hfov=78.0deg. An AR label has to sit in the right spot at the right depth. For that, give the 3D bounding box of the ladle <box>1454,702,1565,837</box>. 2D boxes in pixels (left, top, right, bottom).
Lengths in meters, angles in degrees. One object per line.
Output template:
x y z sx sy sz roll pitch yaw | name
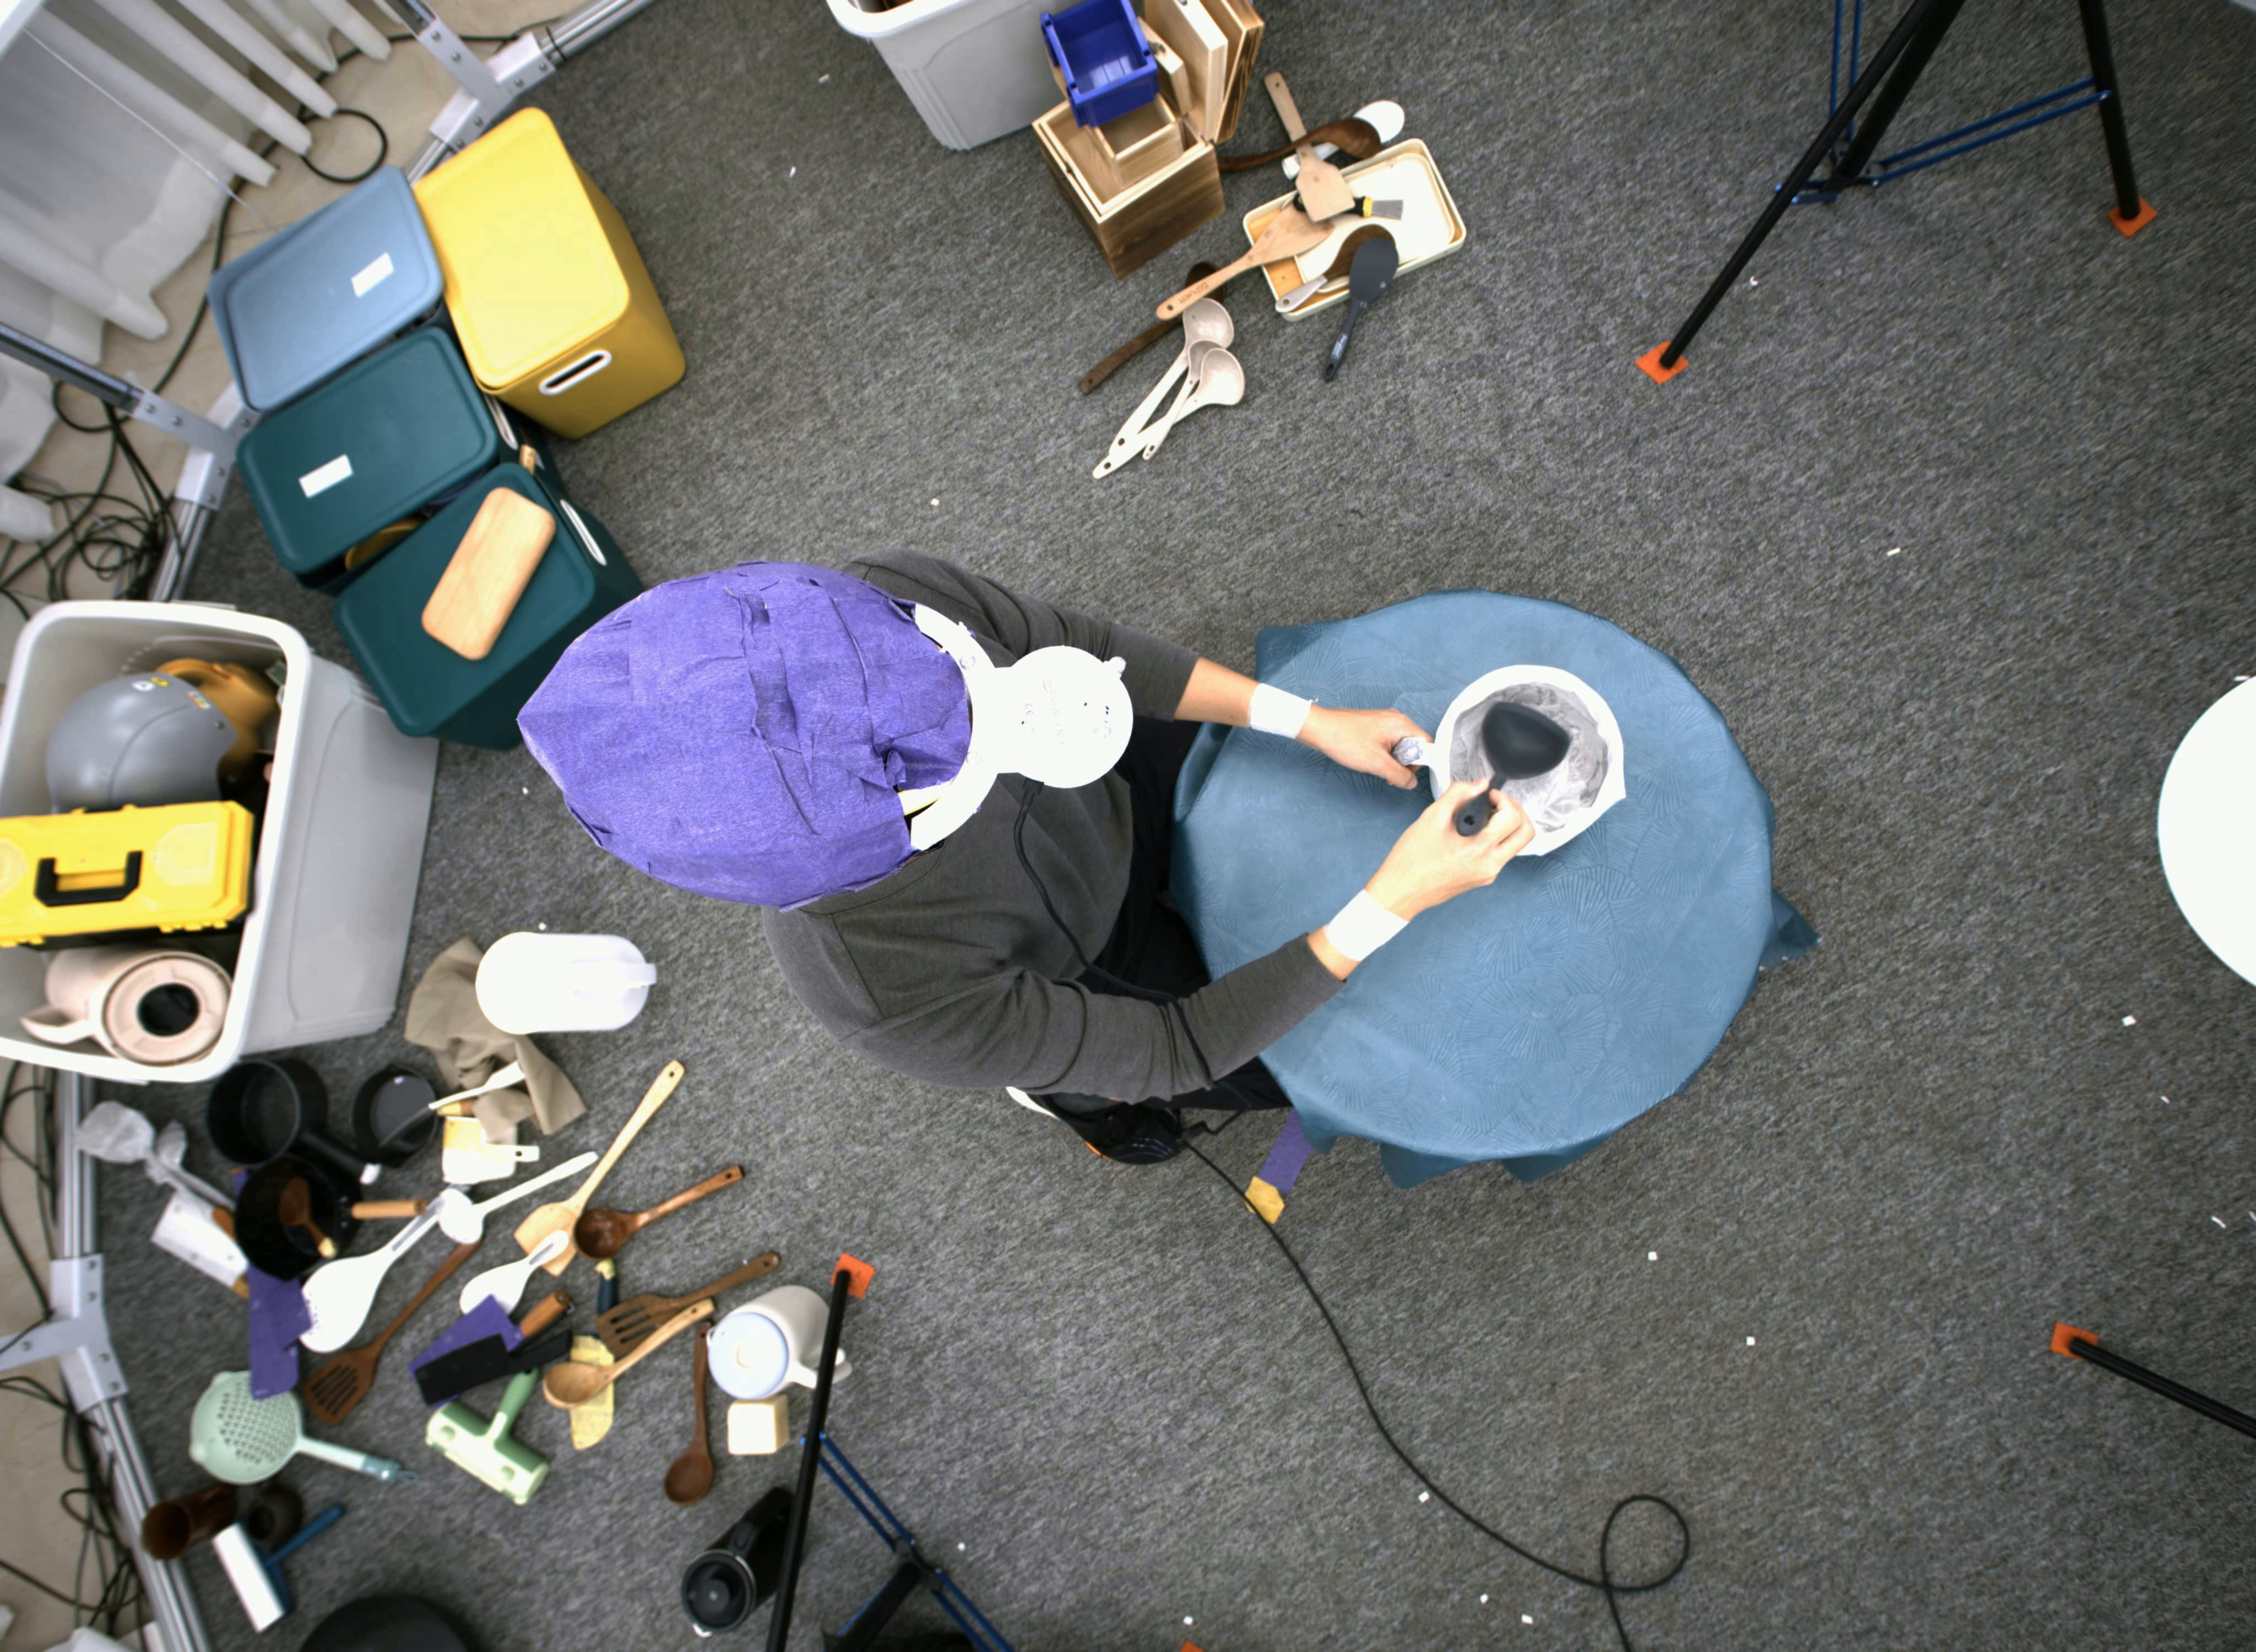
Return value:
0.334 -0.053 1.228 0.086 0.309 0.065 25 112 15 | ladle

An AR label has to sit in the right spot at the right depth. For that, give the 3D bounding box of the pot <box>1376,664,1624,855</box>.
0.367 -0.066 1.379 0.234 0.137 0.178 4 86 11 | pot
